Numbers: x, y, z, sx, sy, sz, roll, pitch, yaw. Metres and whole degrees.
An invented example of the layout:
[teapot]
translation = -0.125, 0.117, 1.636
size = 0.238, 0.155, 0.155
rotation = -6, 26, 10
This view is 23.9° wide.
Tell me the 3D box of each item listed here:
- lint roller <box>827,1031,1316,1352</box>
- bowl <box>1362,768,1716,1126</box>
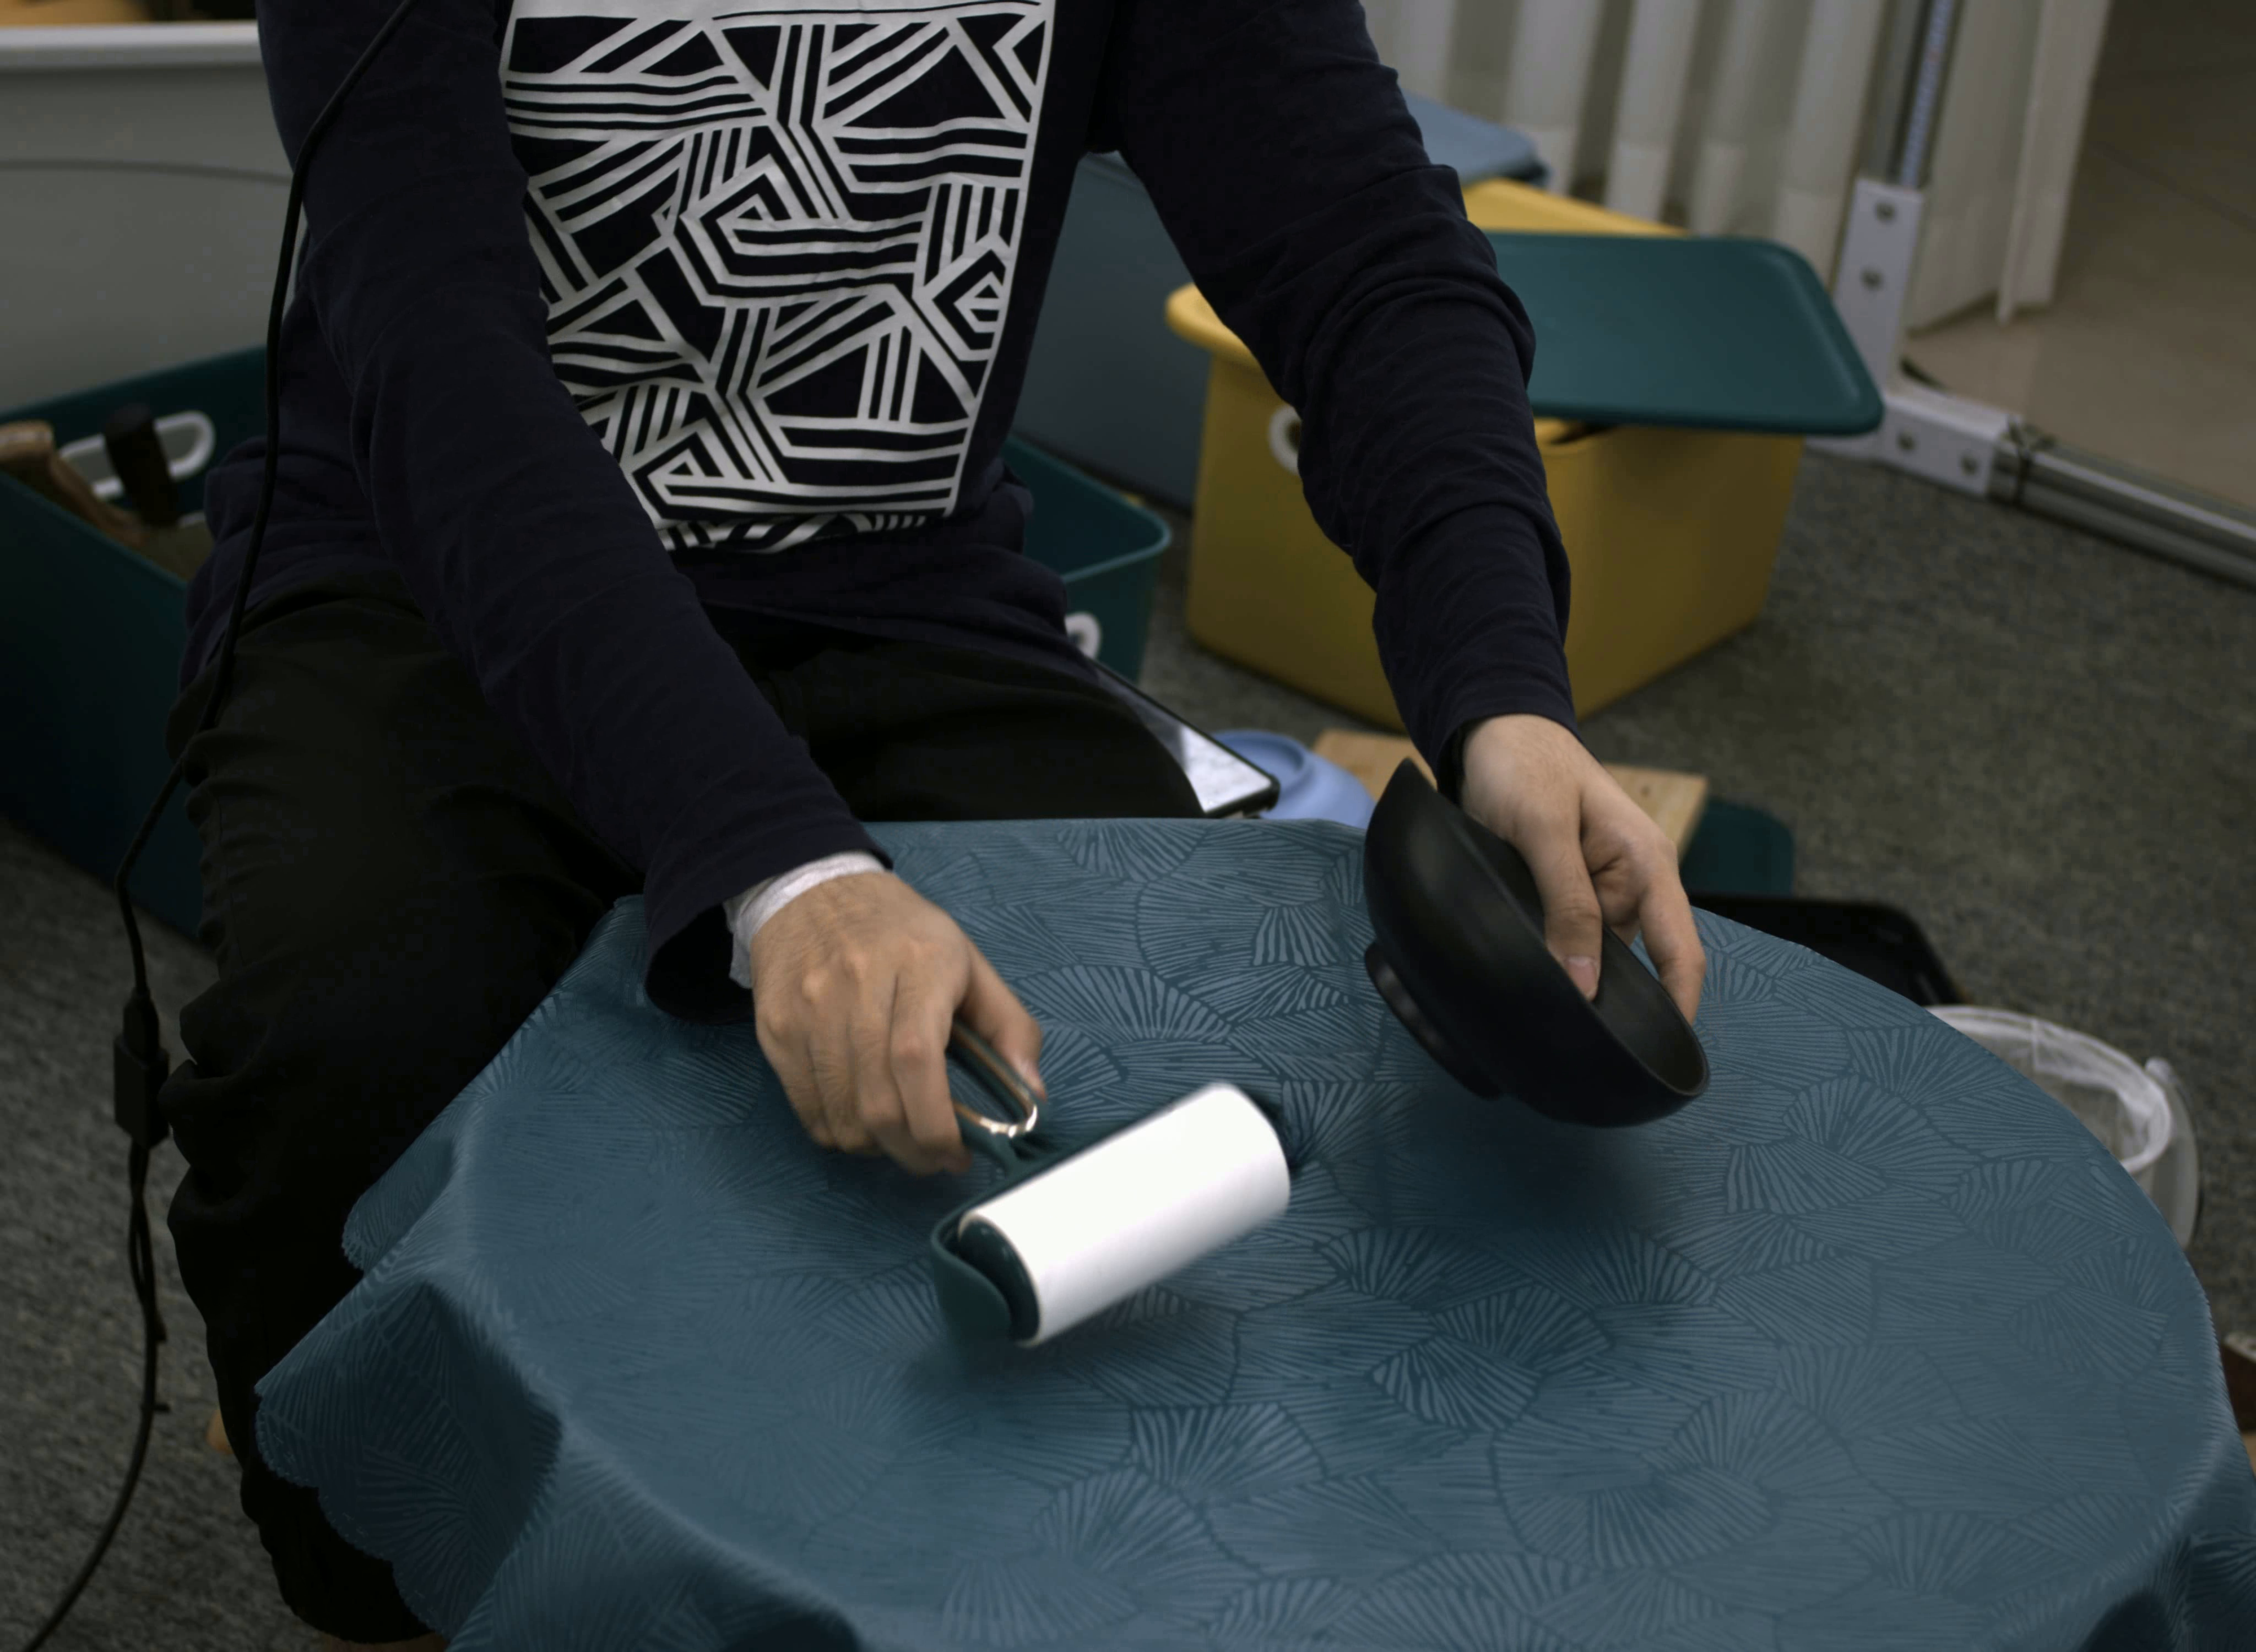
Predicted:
[lint roller]
translation = -0.043, 0.097, 1.749
size = 0.134, 0.048, 0.181
rotation = -24, 42, -29
[bowl]
translation = 0.126, 0.050, 1.821
size = 0.136, 0.066, 0.172
rotation = 37, 13, -41
